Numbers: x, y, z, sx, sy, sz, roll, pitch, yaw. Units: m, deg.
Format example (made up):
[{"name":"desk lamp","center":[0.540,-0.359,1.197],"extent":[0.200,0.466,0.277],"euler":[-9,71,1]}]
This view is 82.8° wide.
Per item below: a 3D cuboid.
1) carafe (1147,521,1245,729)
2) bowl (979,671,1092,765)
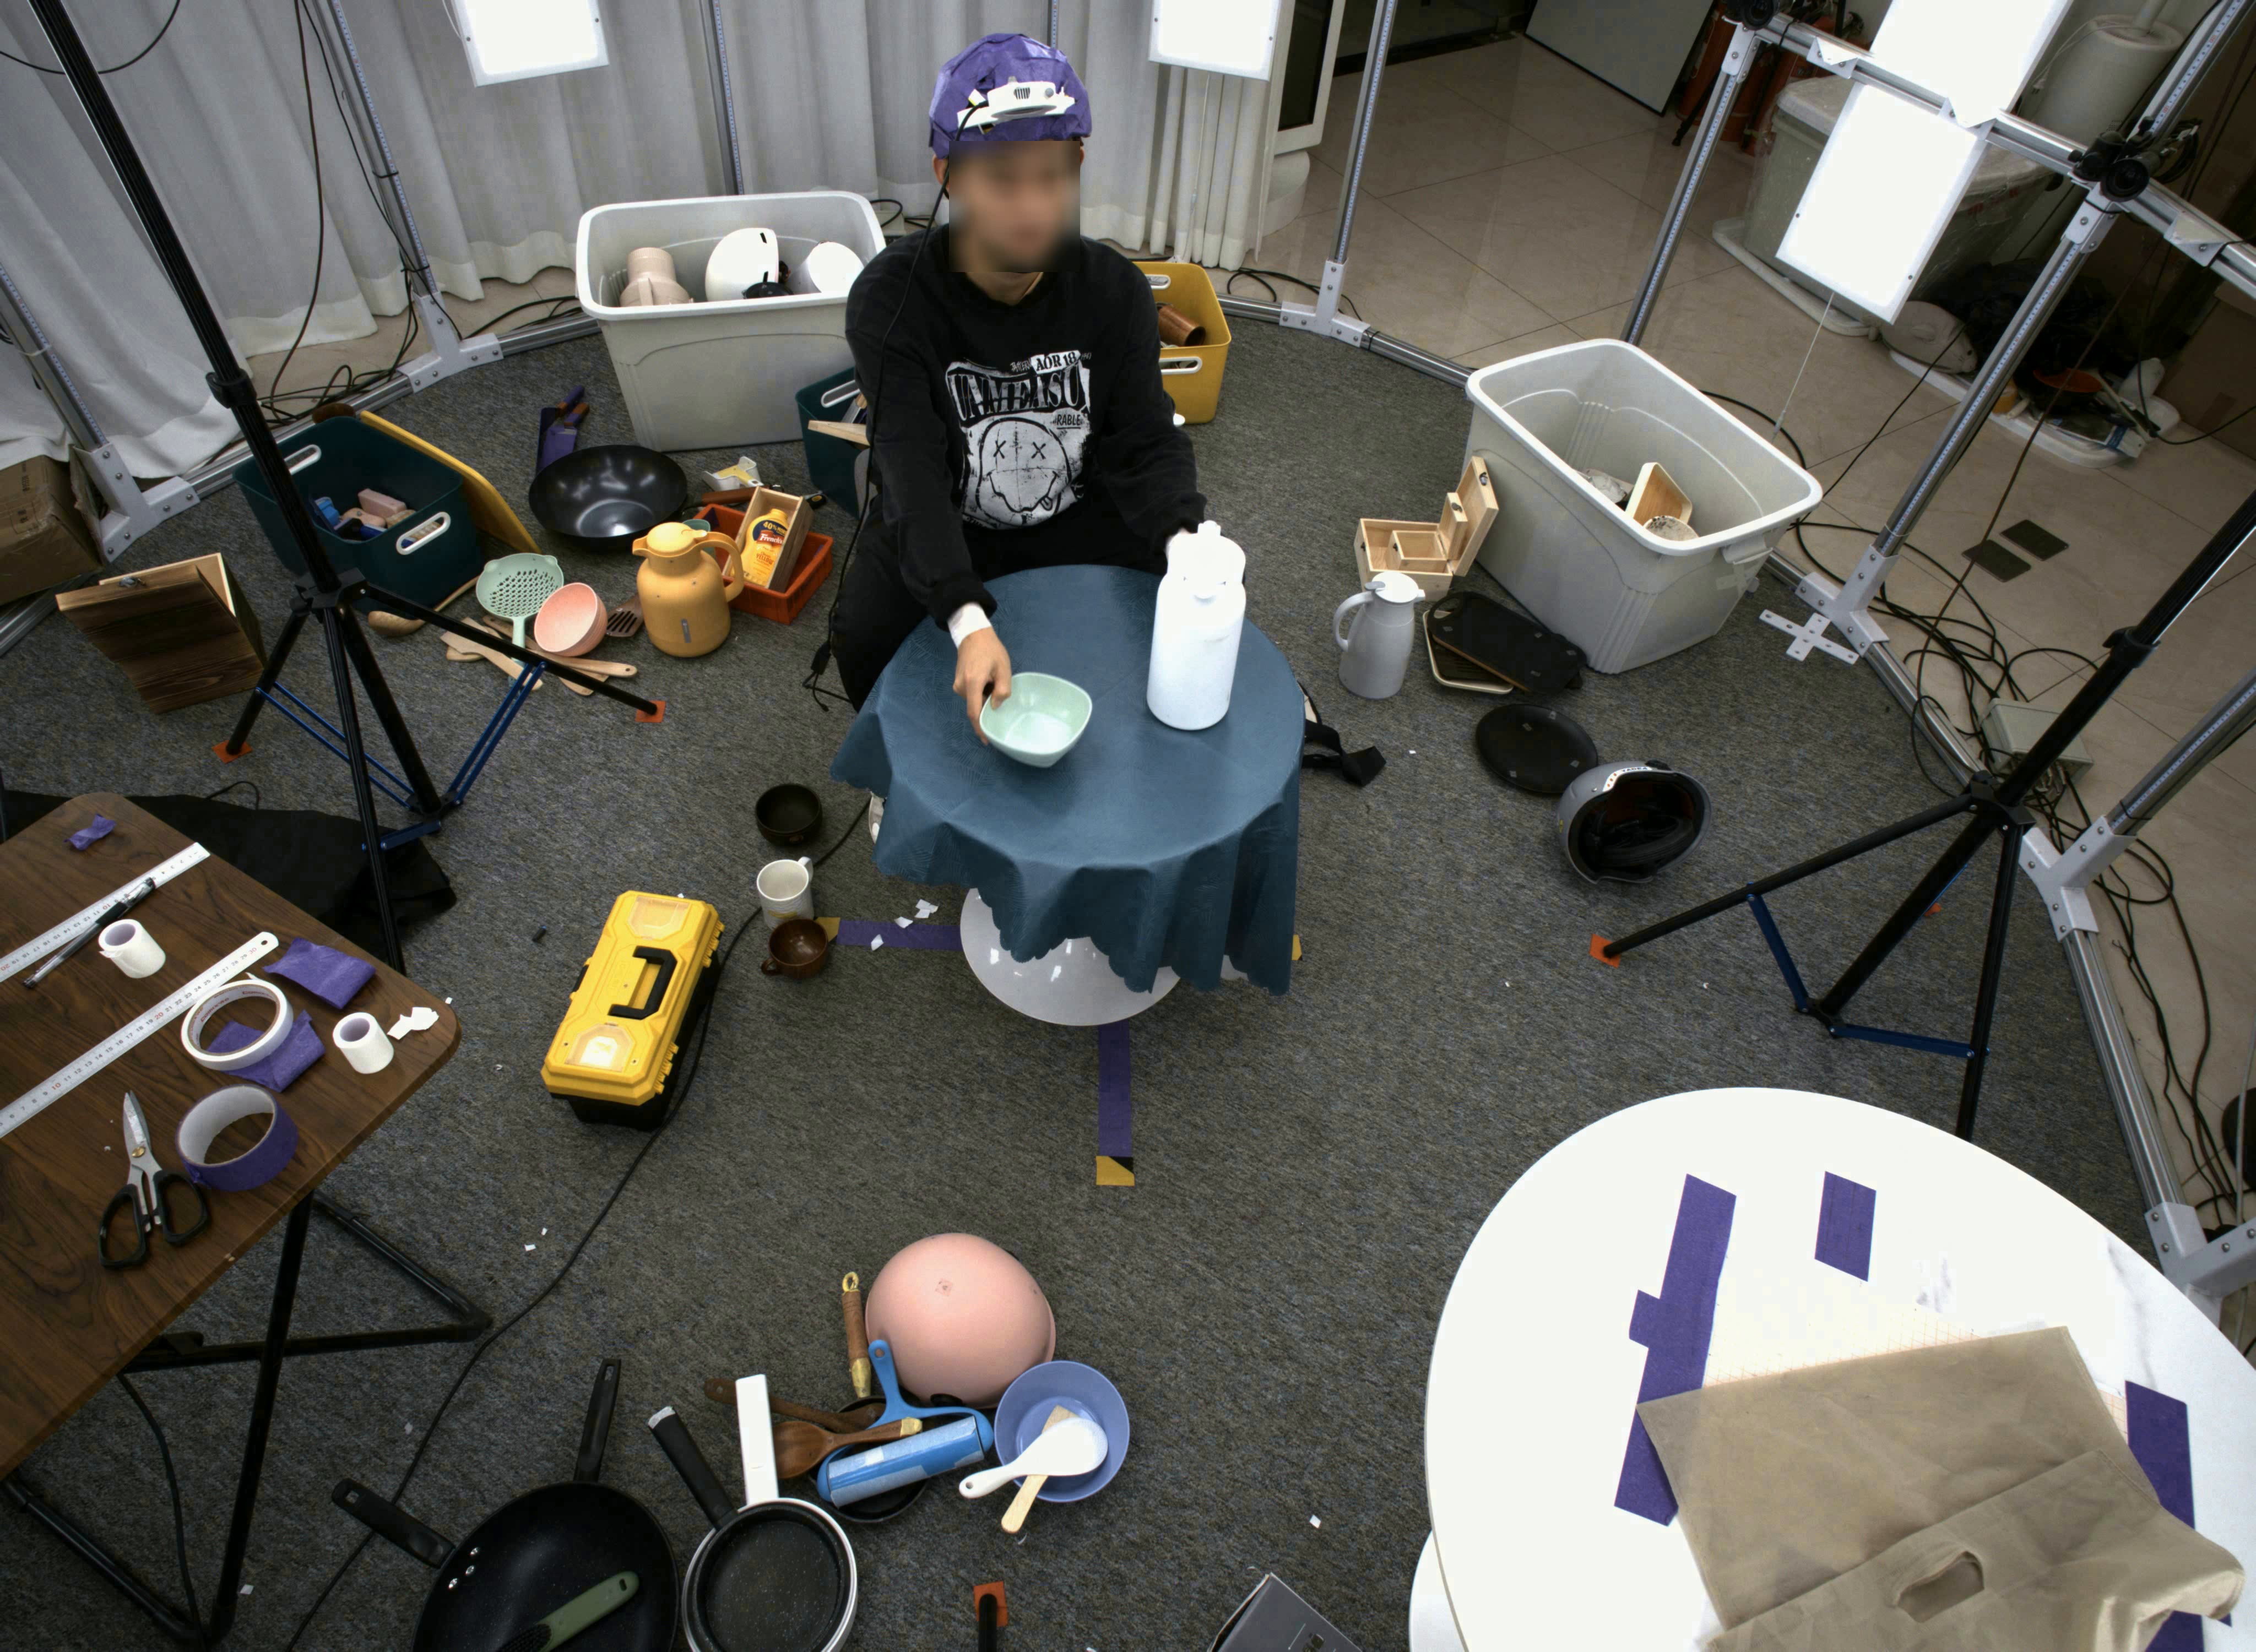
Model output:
[{"name":"carafe","center":[0.092,-0.273,1.739],"extent":[0.124,0.262,0.177],"euler":[4,49,2]},{"name":"bowl","center":[-0.121,-0.135,1.705],"extent":[0.151,0.057,0.155],"euler":[0,49,-1]}]
